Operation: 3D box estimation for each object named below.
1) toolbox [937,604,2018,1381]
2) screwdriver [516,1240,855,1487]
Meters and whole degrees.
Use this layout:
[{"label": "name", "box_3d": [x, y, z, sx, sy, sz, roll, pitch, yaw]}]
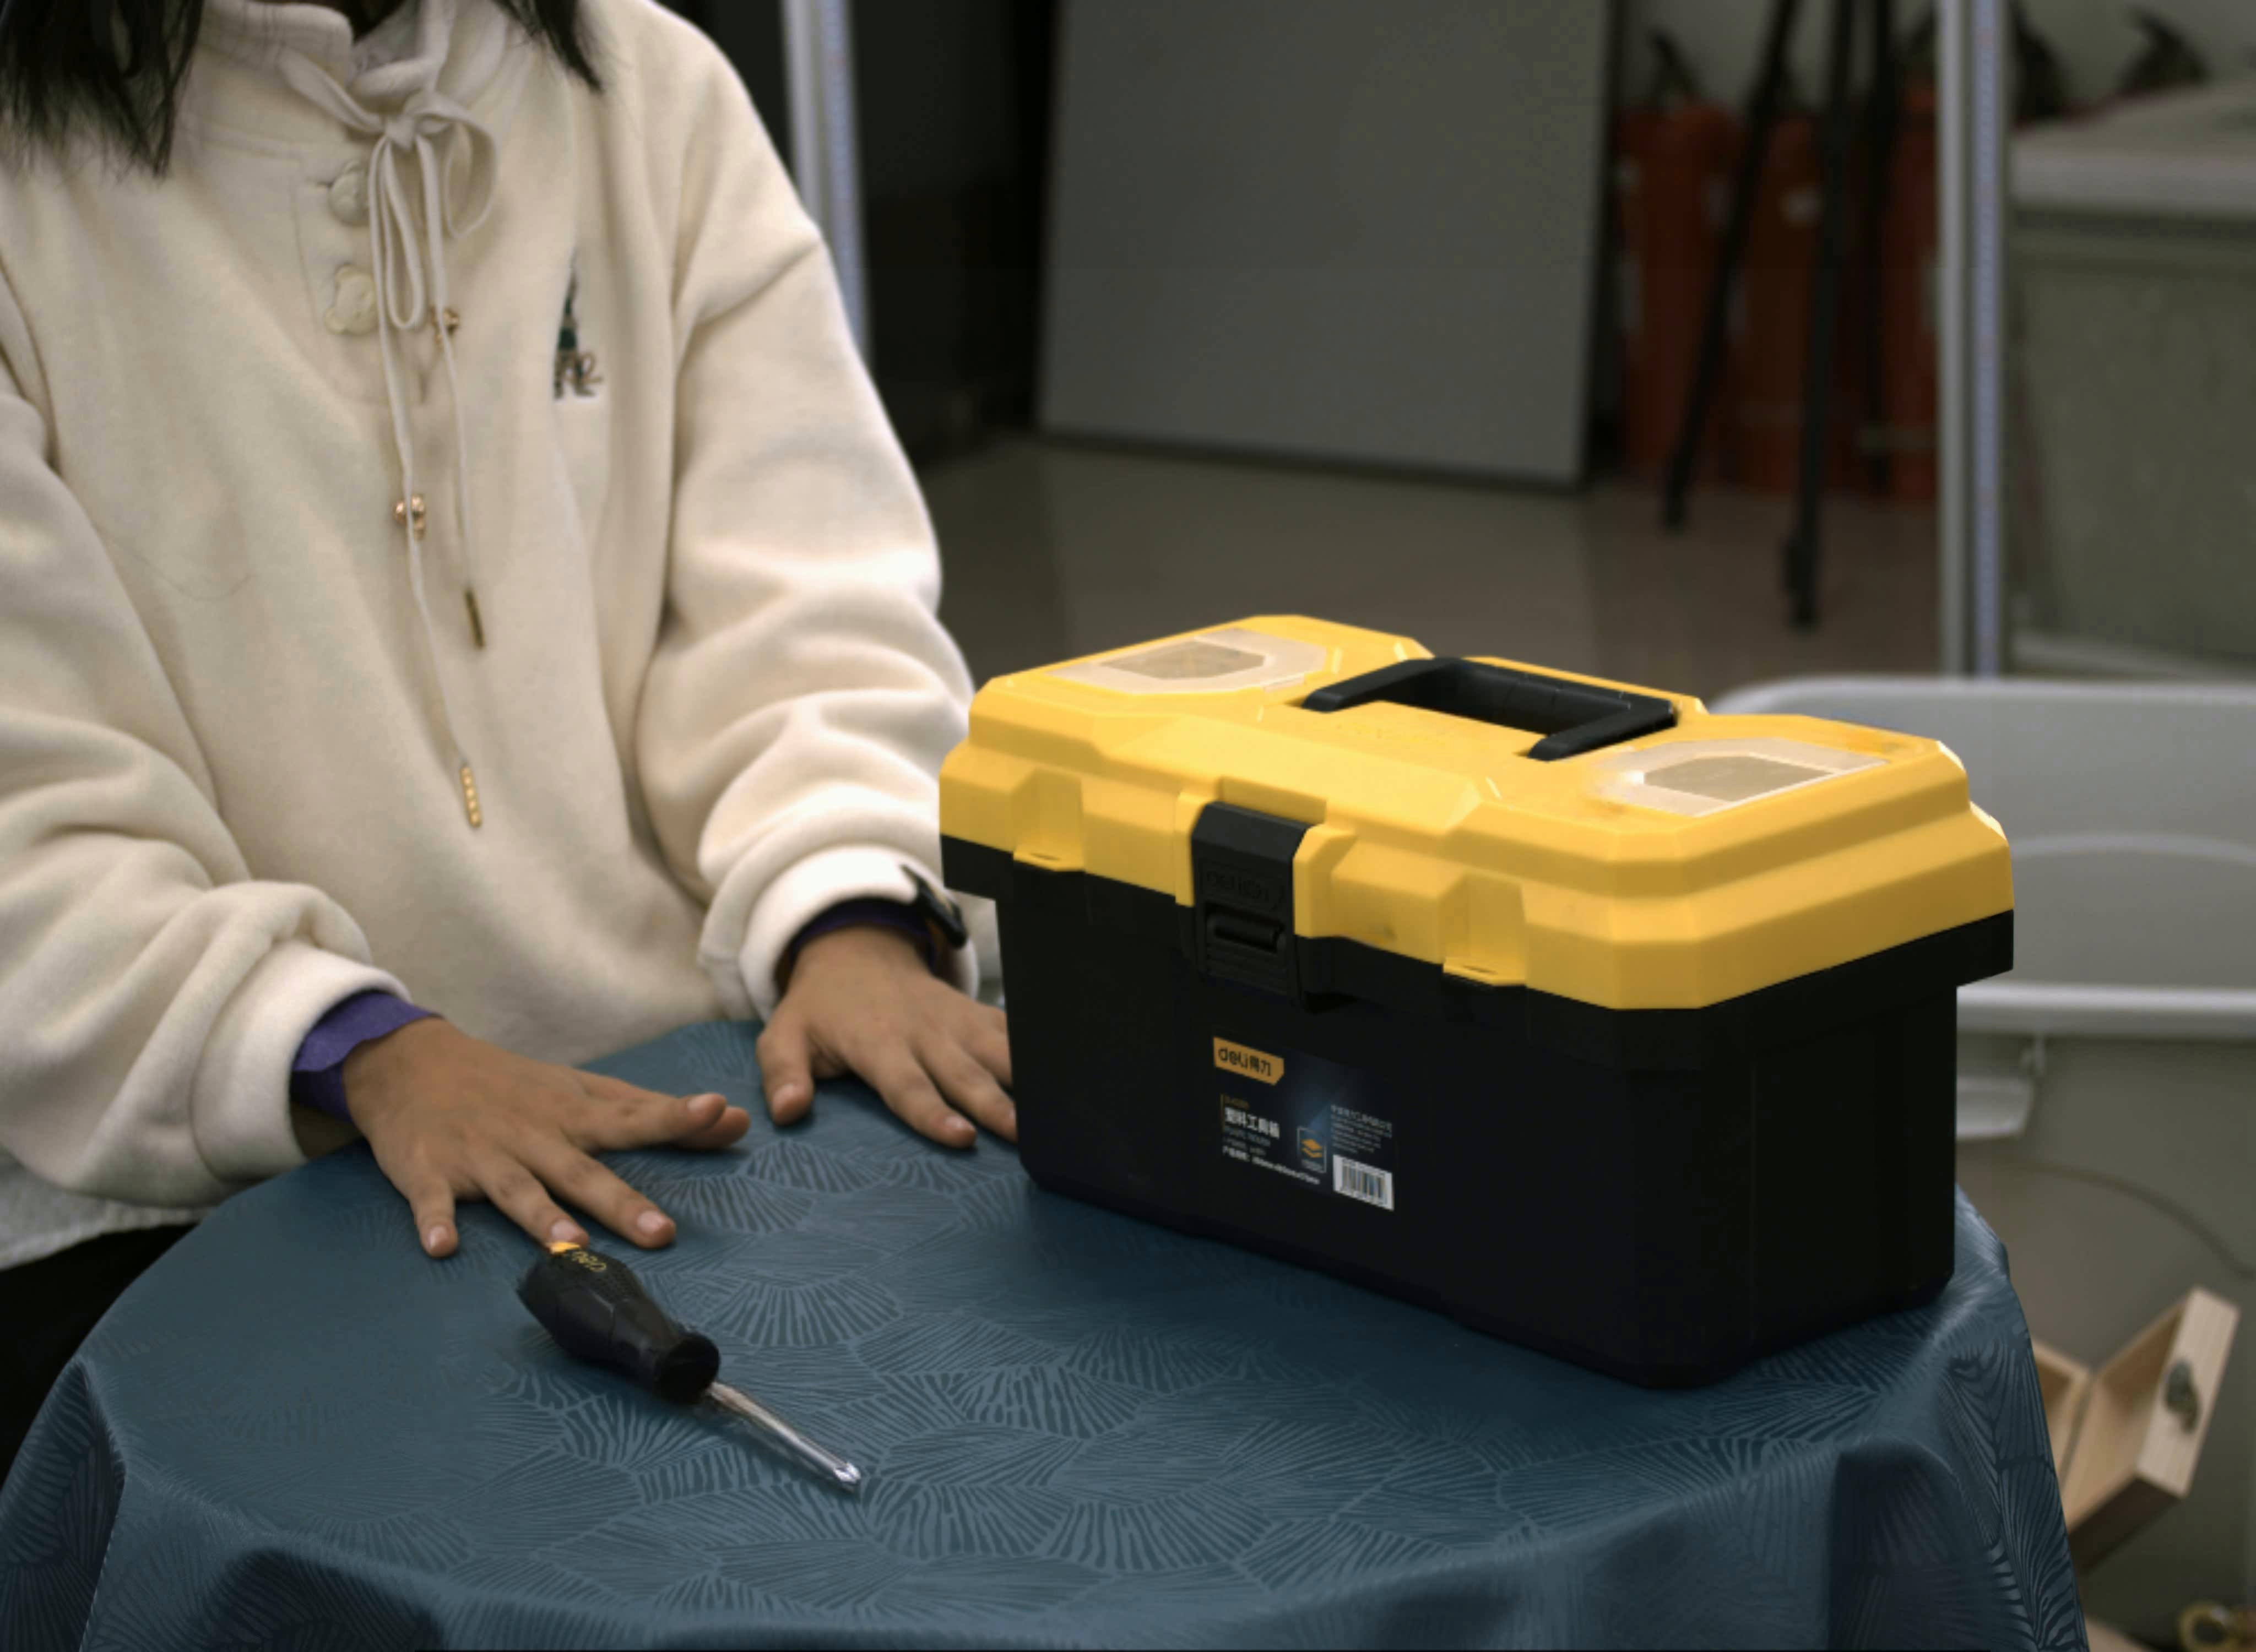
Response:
[{"label": "toolbox", "box_3d": [0.102, 0.045, 1.683, 0.177, 0.175, 0.355, -14, 17, -36]}, {"label": "screwdriver", "box_3d": [-0.131, 0.158, 1.592, 0.031, 0.032, 0.198, -11, 16, -29]}]
